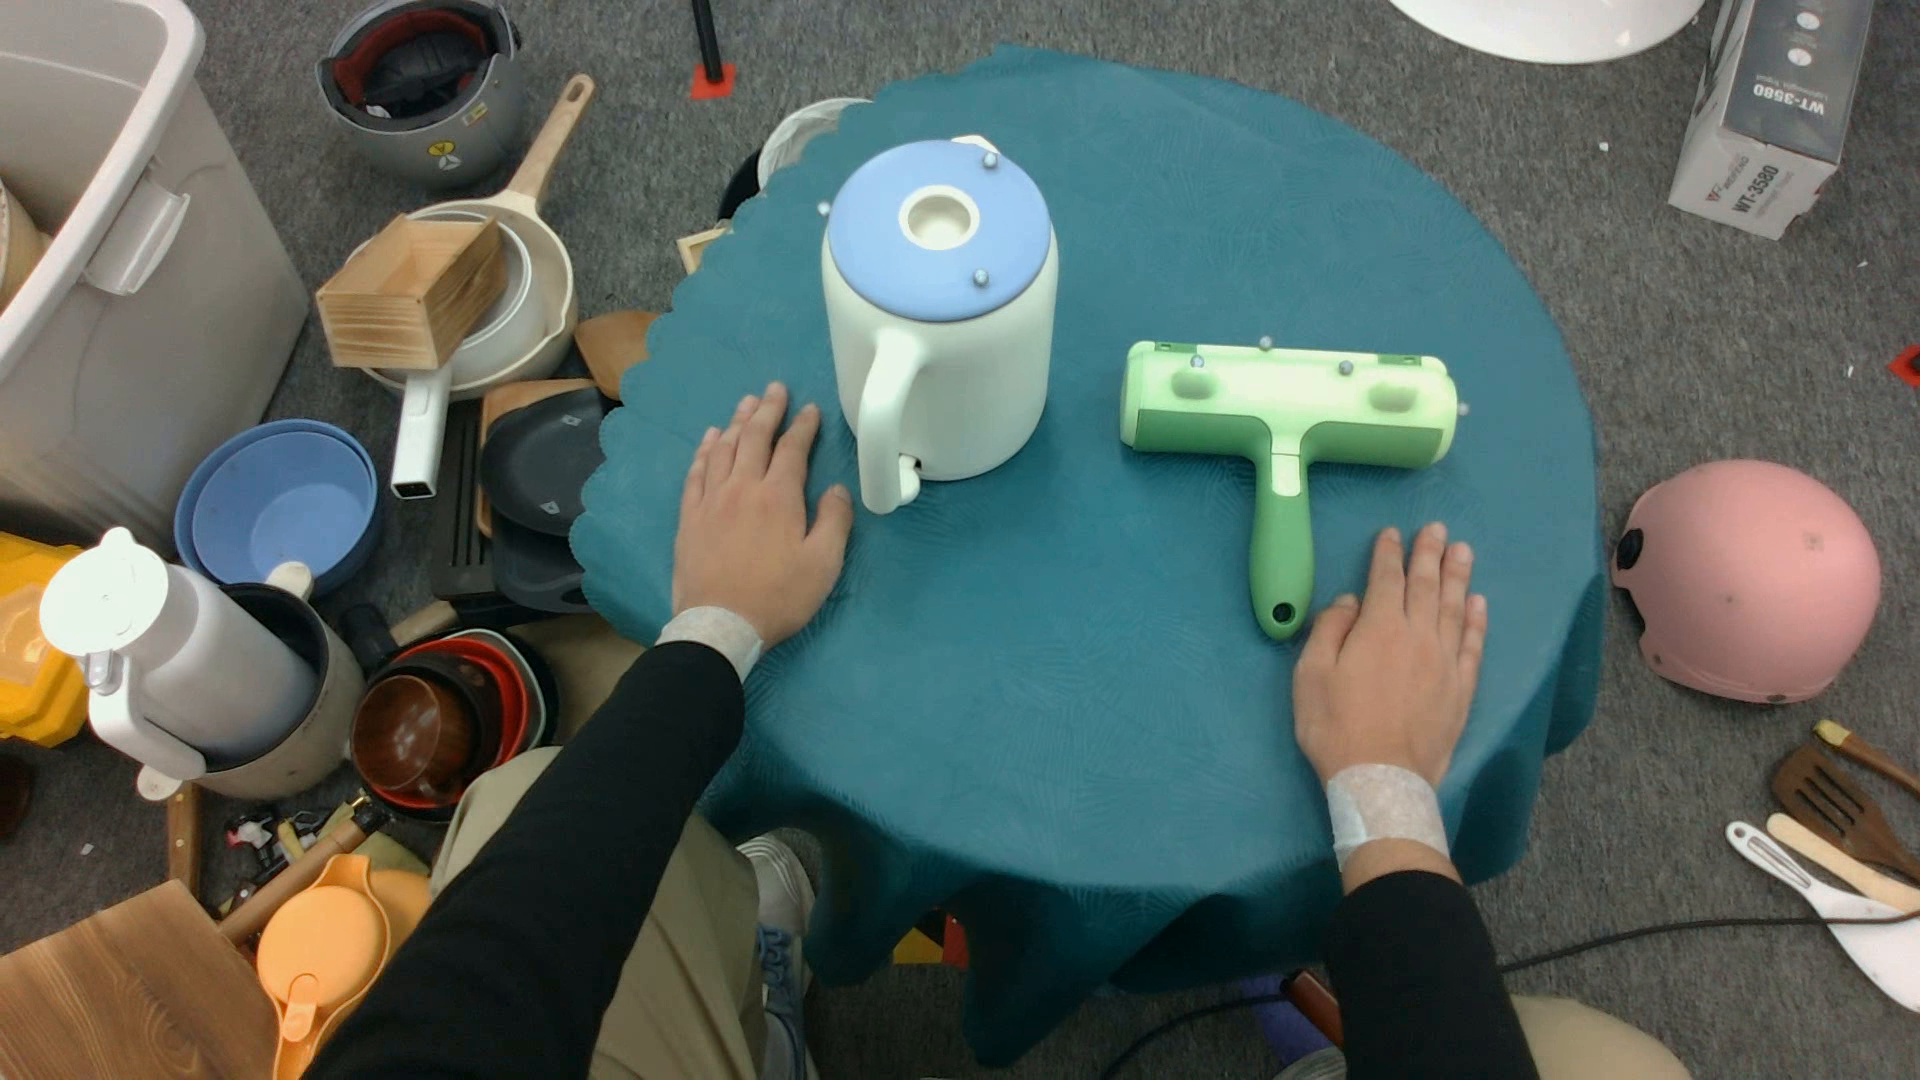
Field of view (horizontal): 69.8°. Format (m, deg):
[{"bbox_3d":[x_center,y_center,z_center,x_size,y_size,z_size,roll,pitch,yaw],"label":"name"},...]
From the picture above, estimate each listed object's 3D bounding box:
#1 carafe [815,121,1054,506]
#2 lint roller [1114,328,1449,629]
[{"bbox_3d":[-0.021,-0.114,0.789,0.132,0.182,0.192,14,67,7],"label":"carafe"},{"bbox_3d":[0.190,-0.044,0.809,0.198,0.082,0.184,4,61,3],"label":"lint roller"}]
